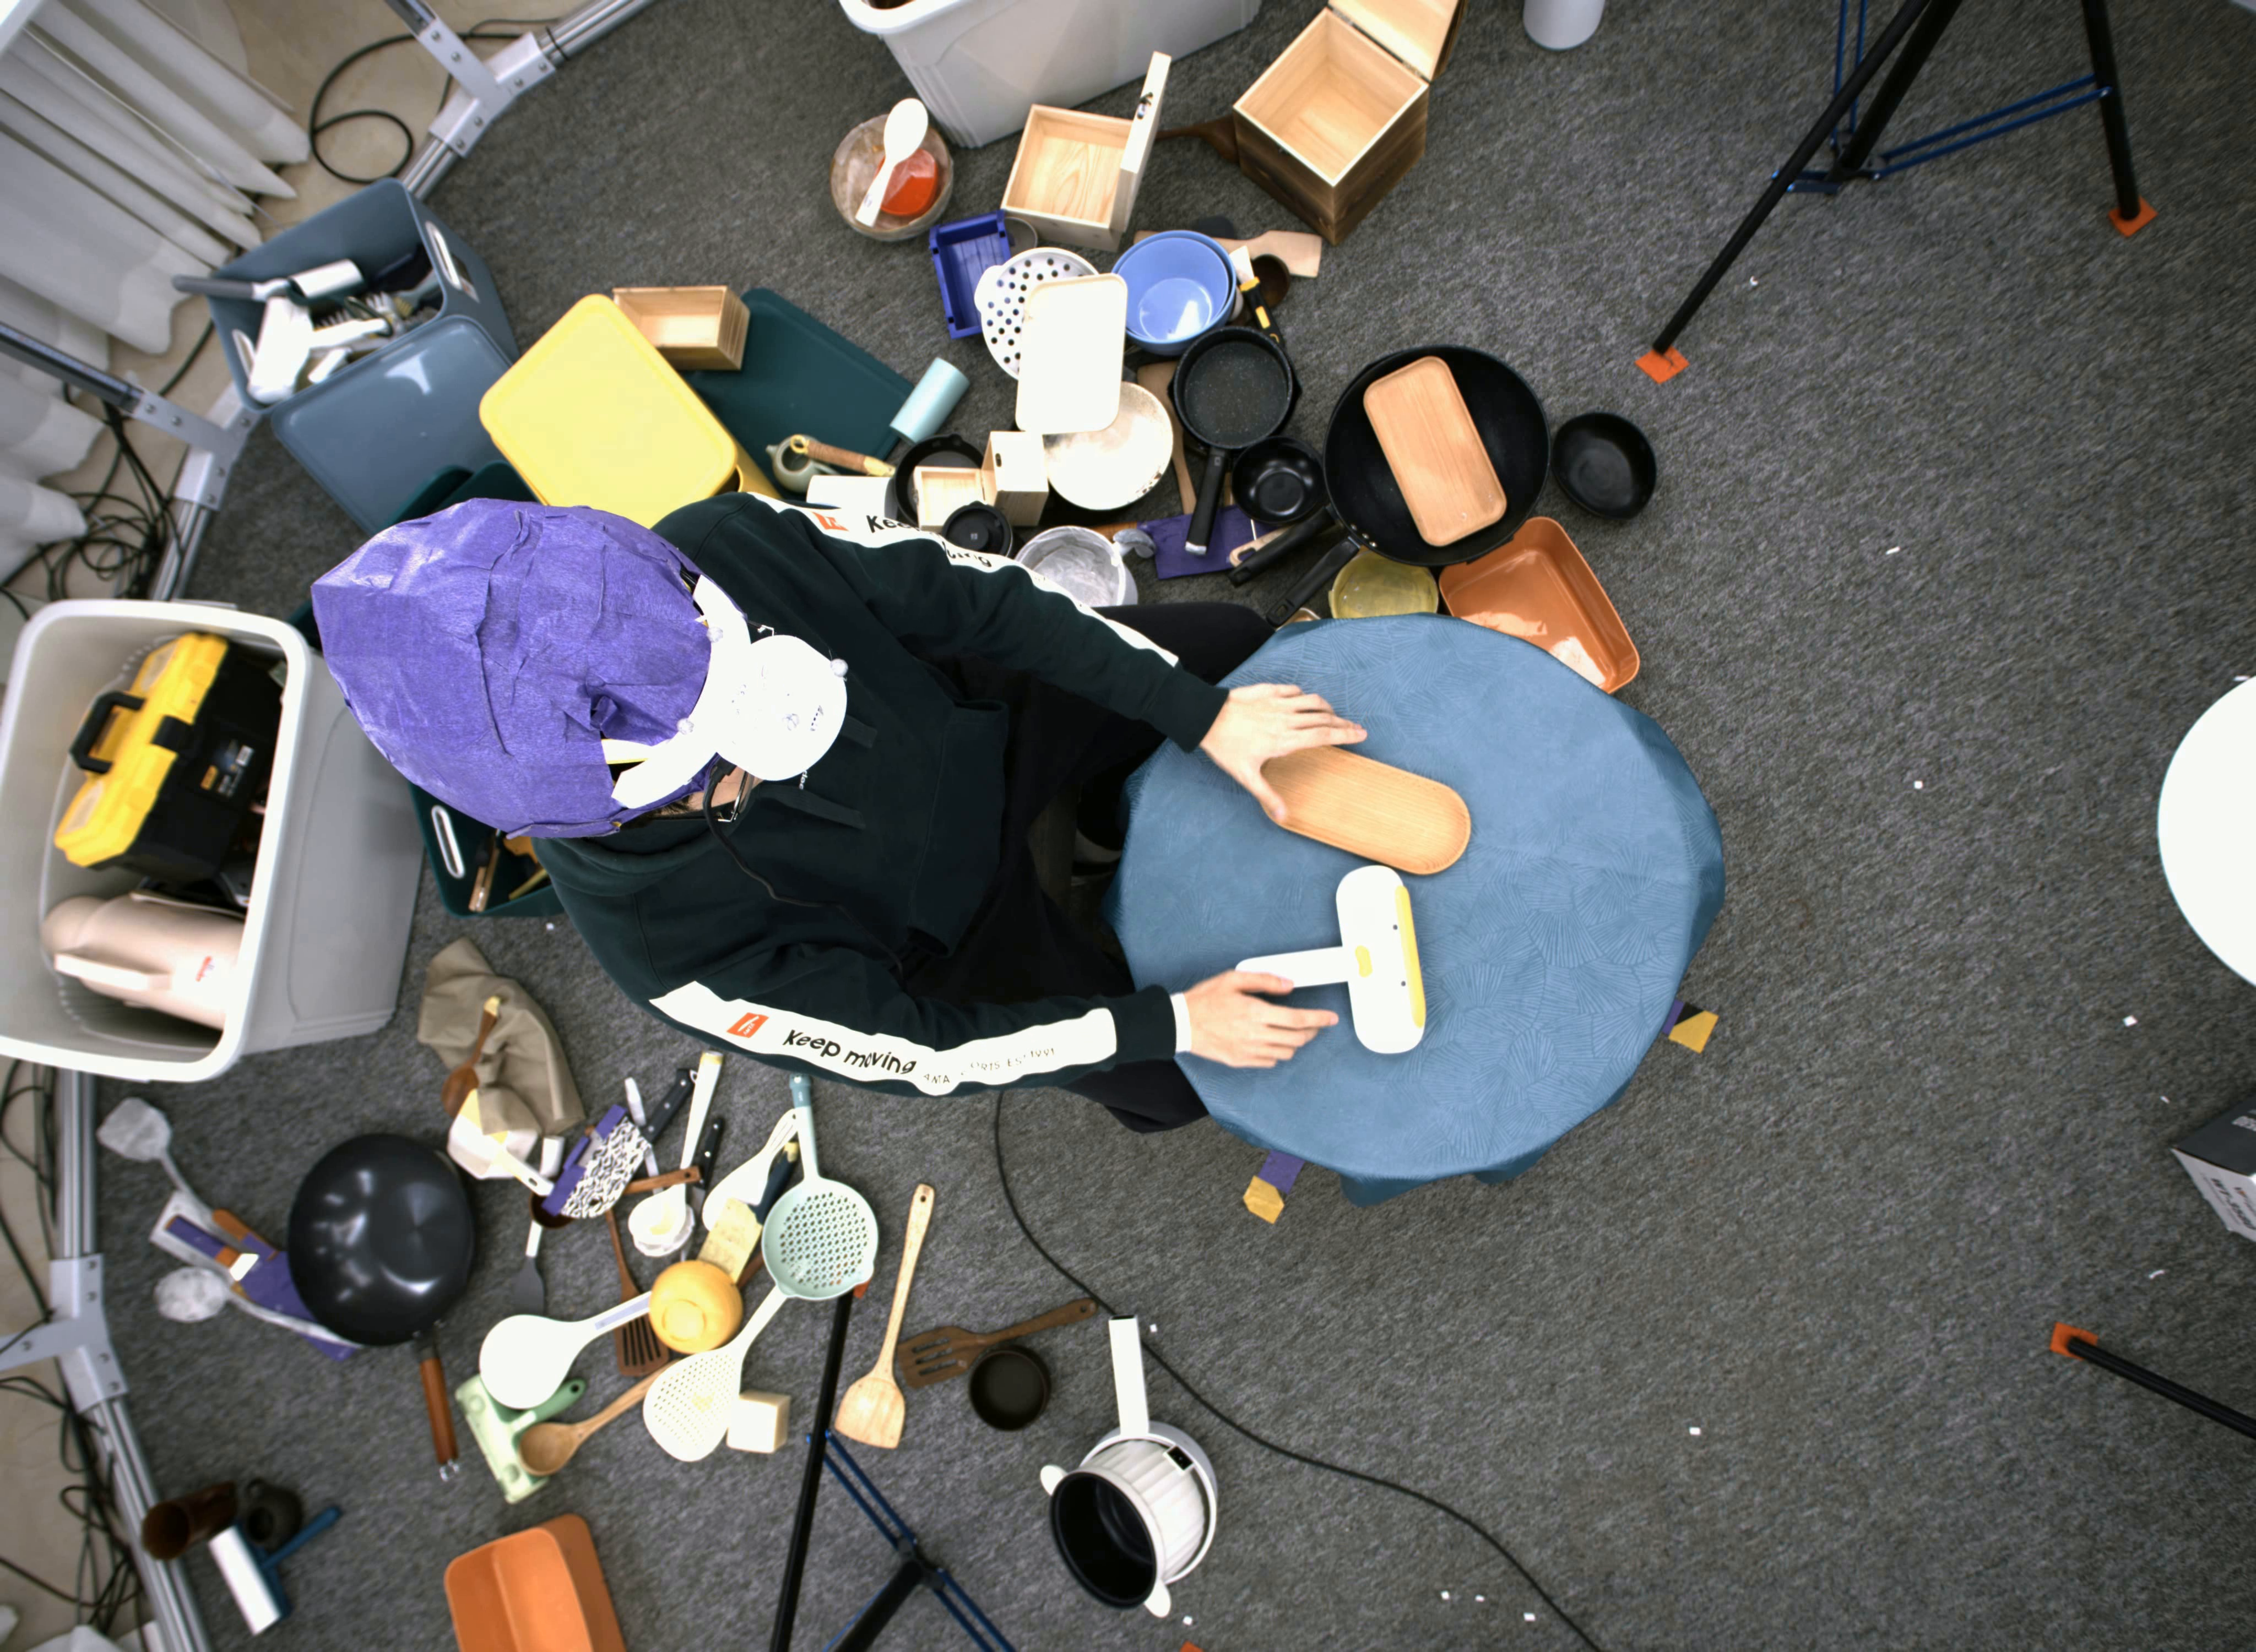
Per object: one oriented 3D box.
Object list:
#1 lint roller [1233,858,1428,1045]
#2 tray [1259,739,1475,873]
[{"bbox_3d":[0.203,0.141,1.439,0.195,0.073,0.193,-14,90,28],"label":"lint roller"},{"bbox_3d":[0.251,-0.023,1.455,0.231,0.020,0.101,19,91,10],"label":"tray"}]
